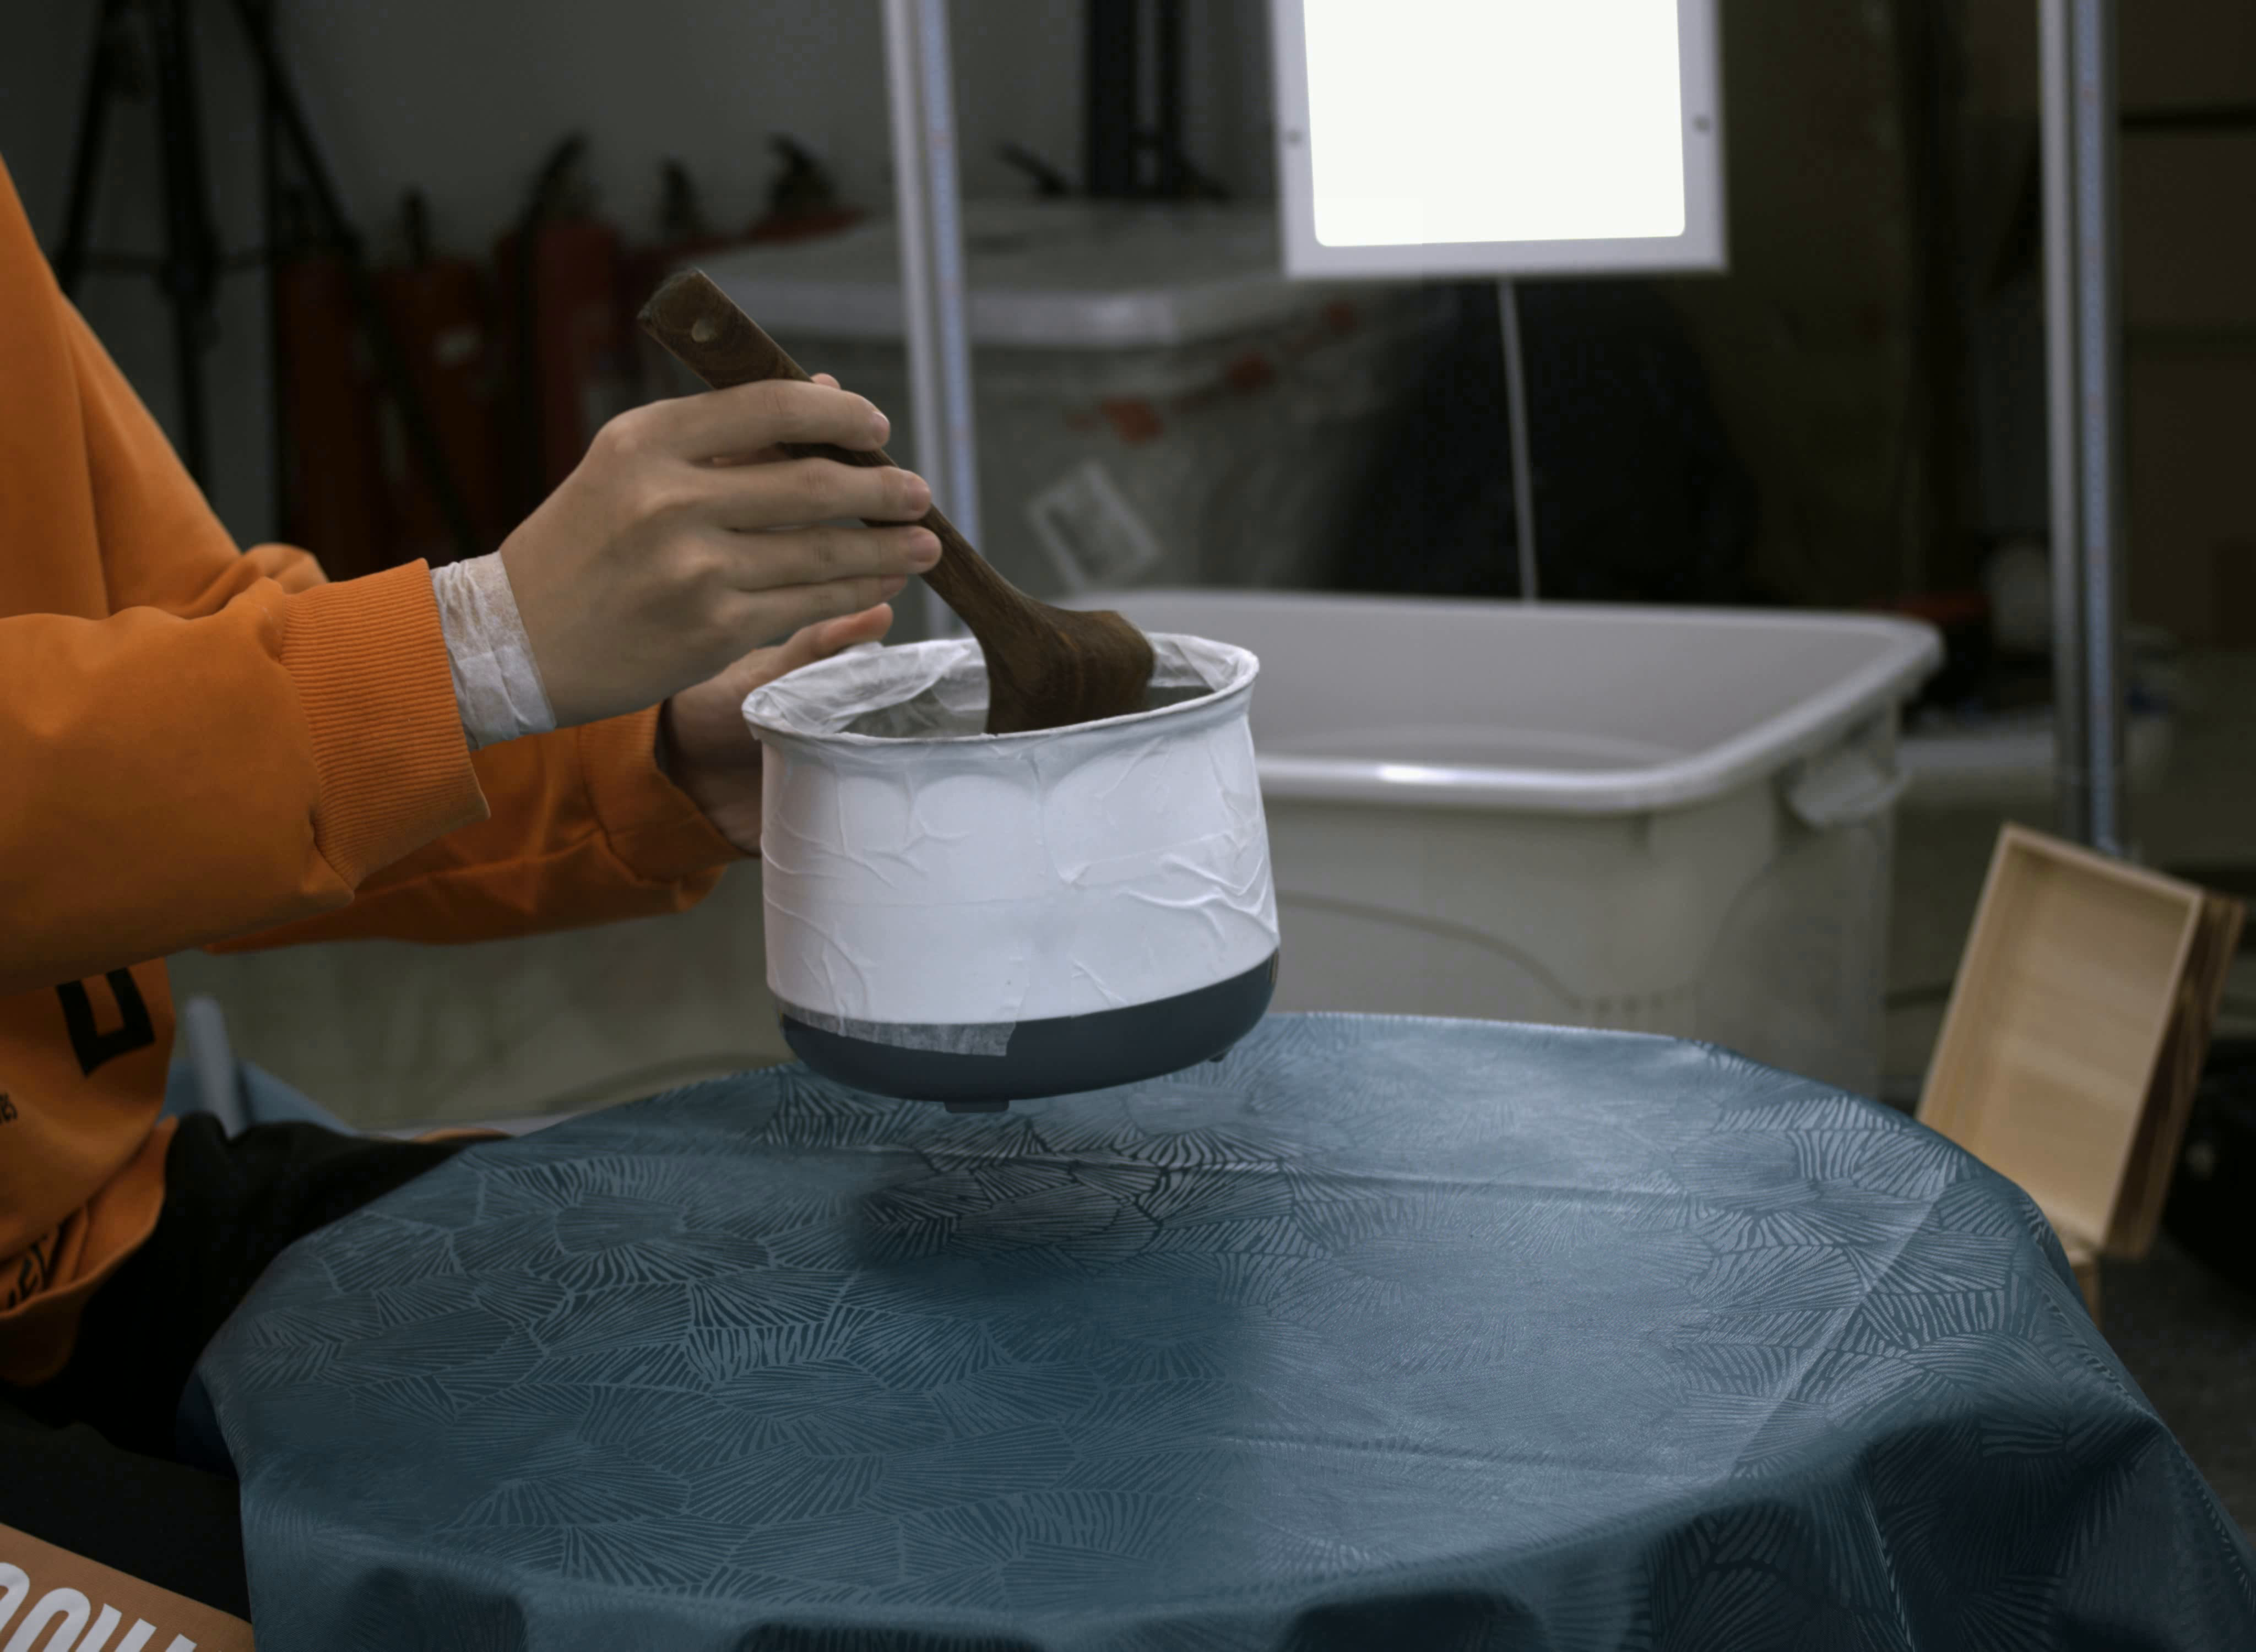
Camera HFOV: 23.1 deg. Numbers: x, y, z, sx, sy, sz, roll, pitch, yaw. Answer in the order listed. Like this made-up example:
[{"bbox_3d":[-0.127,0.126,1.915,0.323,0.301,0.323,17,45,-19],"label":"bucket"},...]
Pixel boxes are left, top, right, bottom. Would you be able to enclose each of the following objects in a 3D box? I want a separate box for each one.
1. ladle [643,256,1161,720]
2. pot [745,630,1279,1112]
[{"bbox_3d":[-0.080,-0.108,1.819,0.076,0.270,0.072,-46,37,1],"label":"ladle"},{"bbox_3d":[-0.053,0.009,1.902,0.174,0.137,0.238,-12,14,-29],"label":"pot"}]
